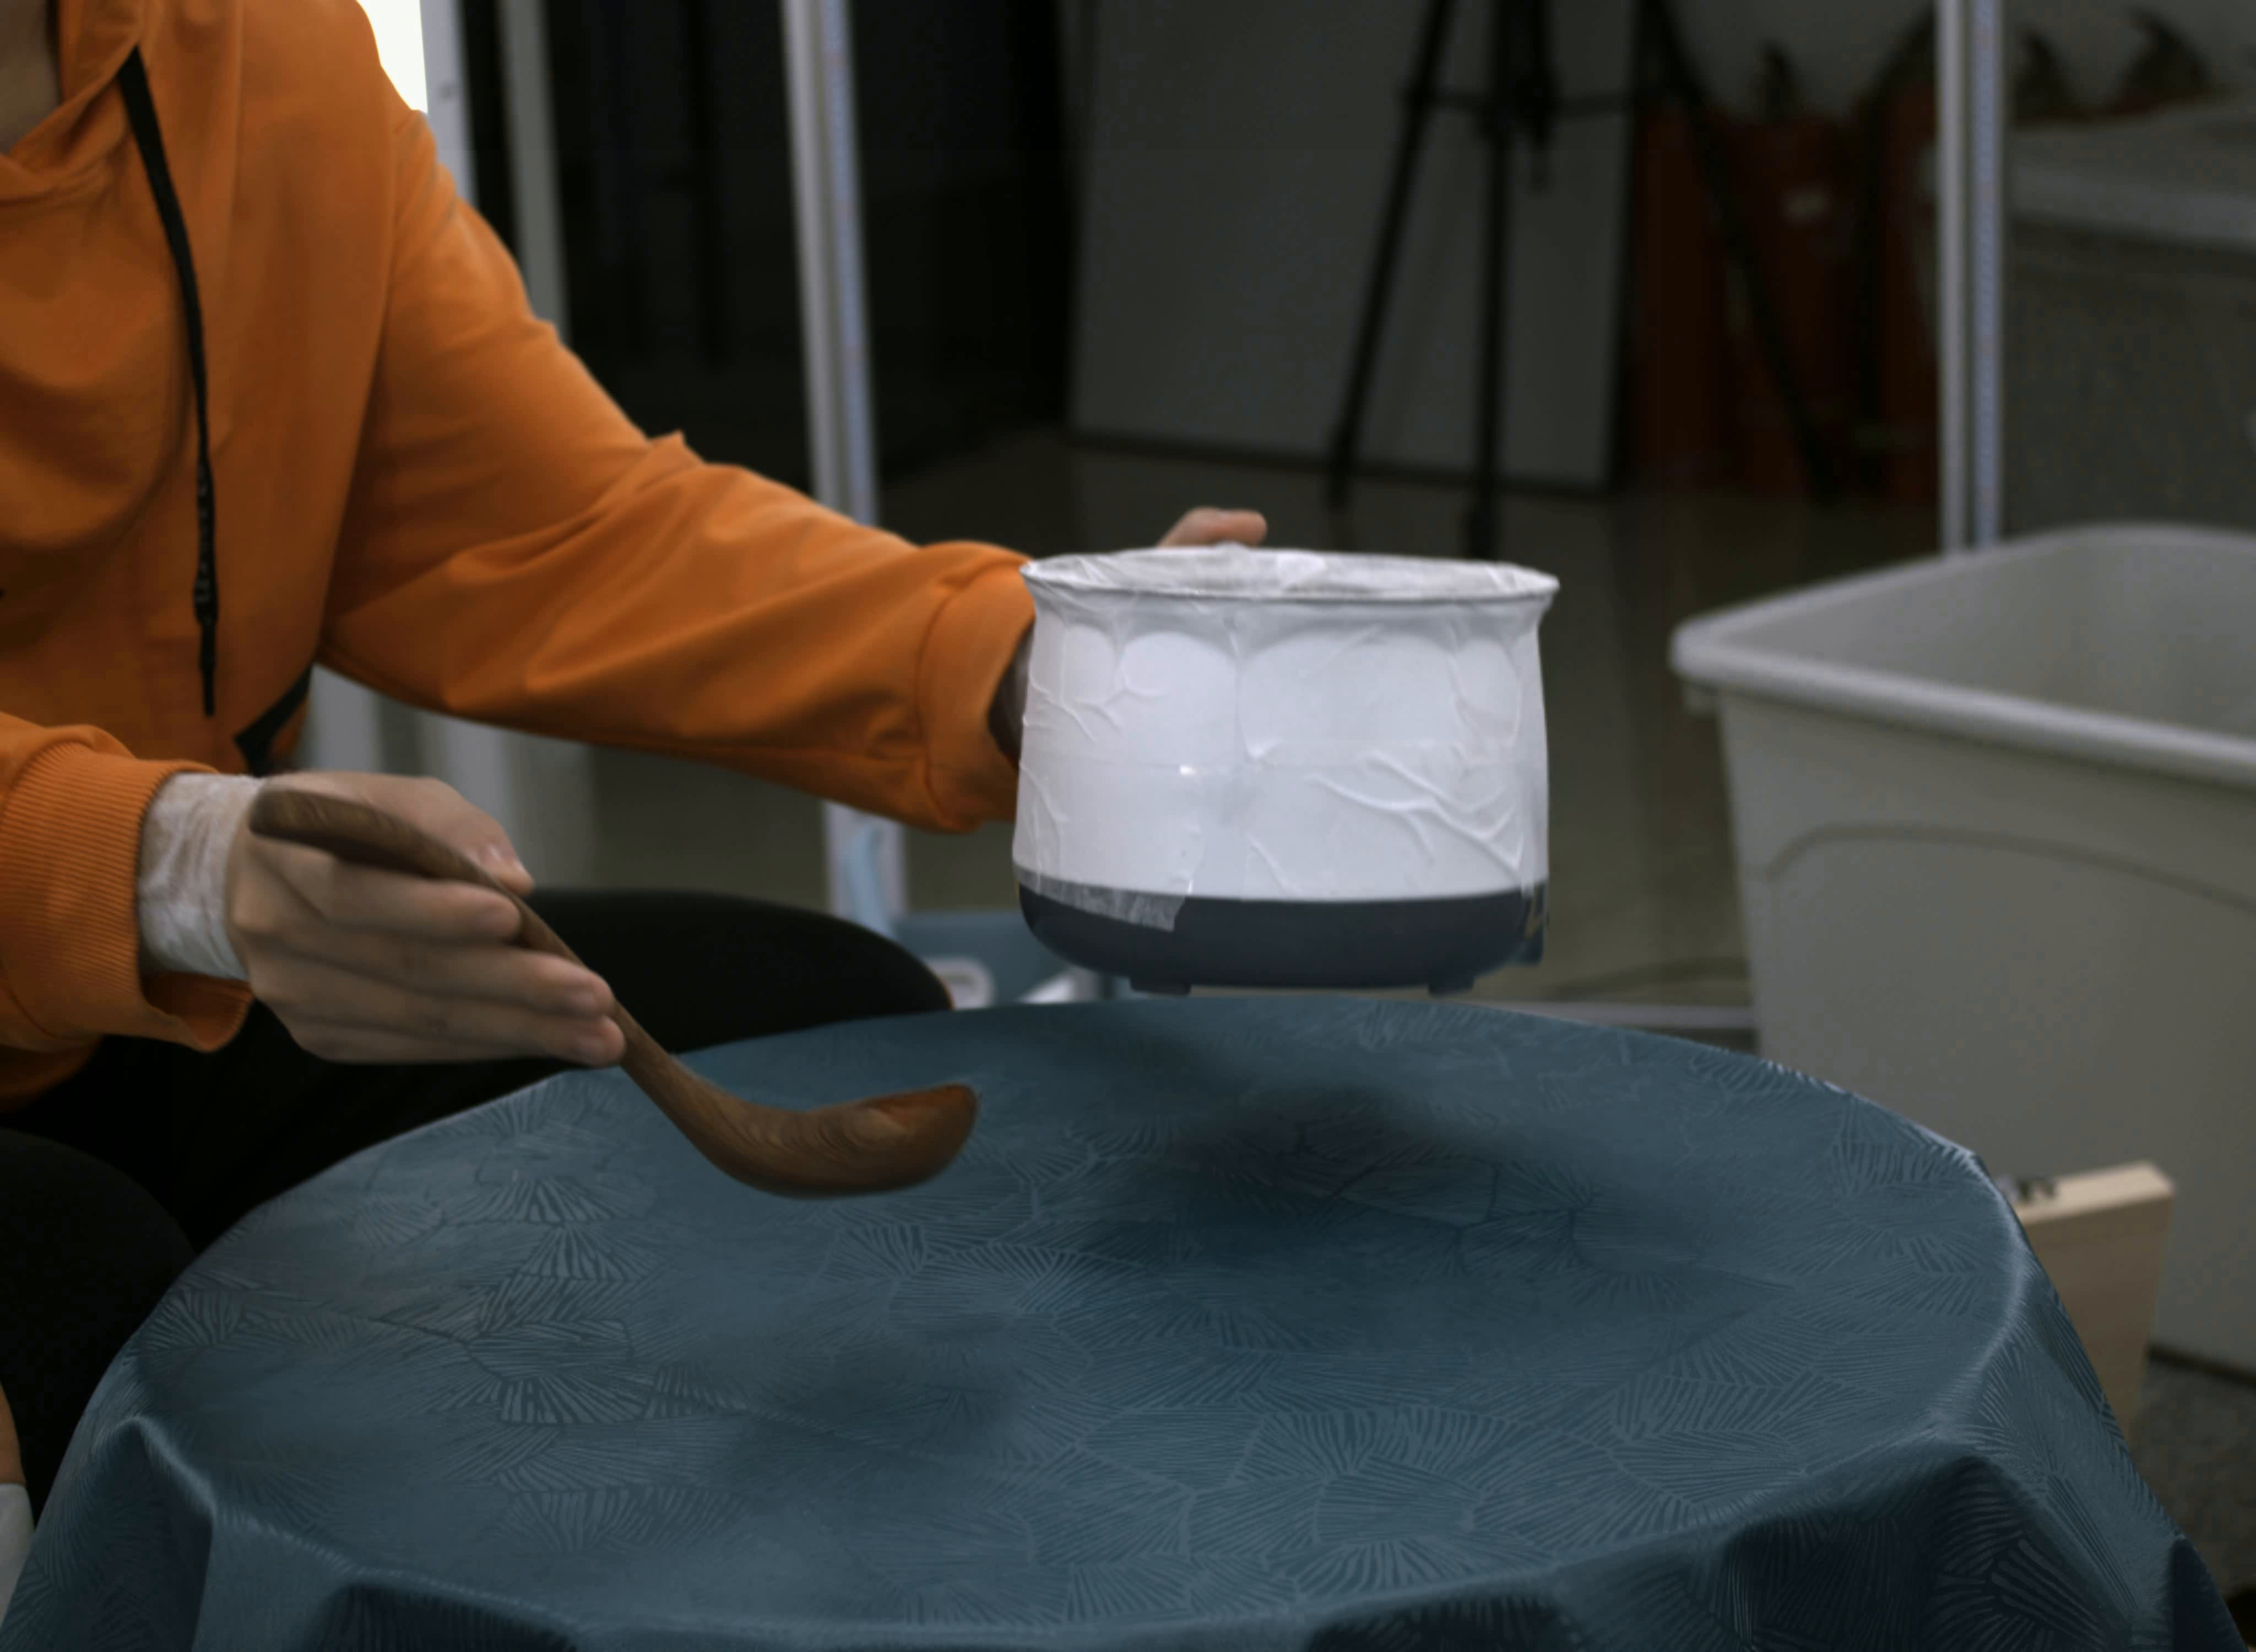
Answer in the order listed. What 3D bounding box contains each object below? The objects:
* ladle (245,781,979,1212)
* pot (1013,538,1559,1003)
[{"bbox_3d":[-0.146,0.040,1.567,0.077,0.256,0.065,-17,44,46],"label":"ladle"},{"bbox_3d":[0.045,-0.022,1.783,0.175,0.138,0.235,1,6,-11],"label":"pot"}]
